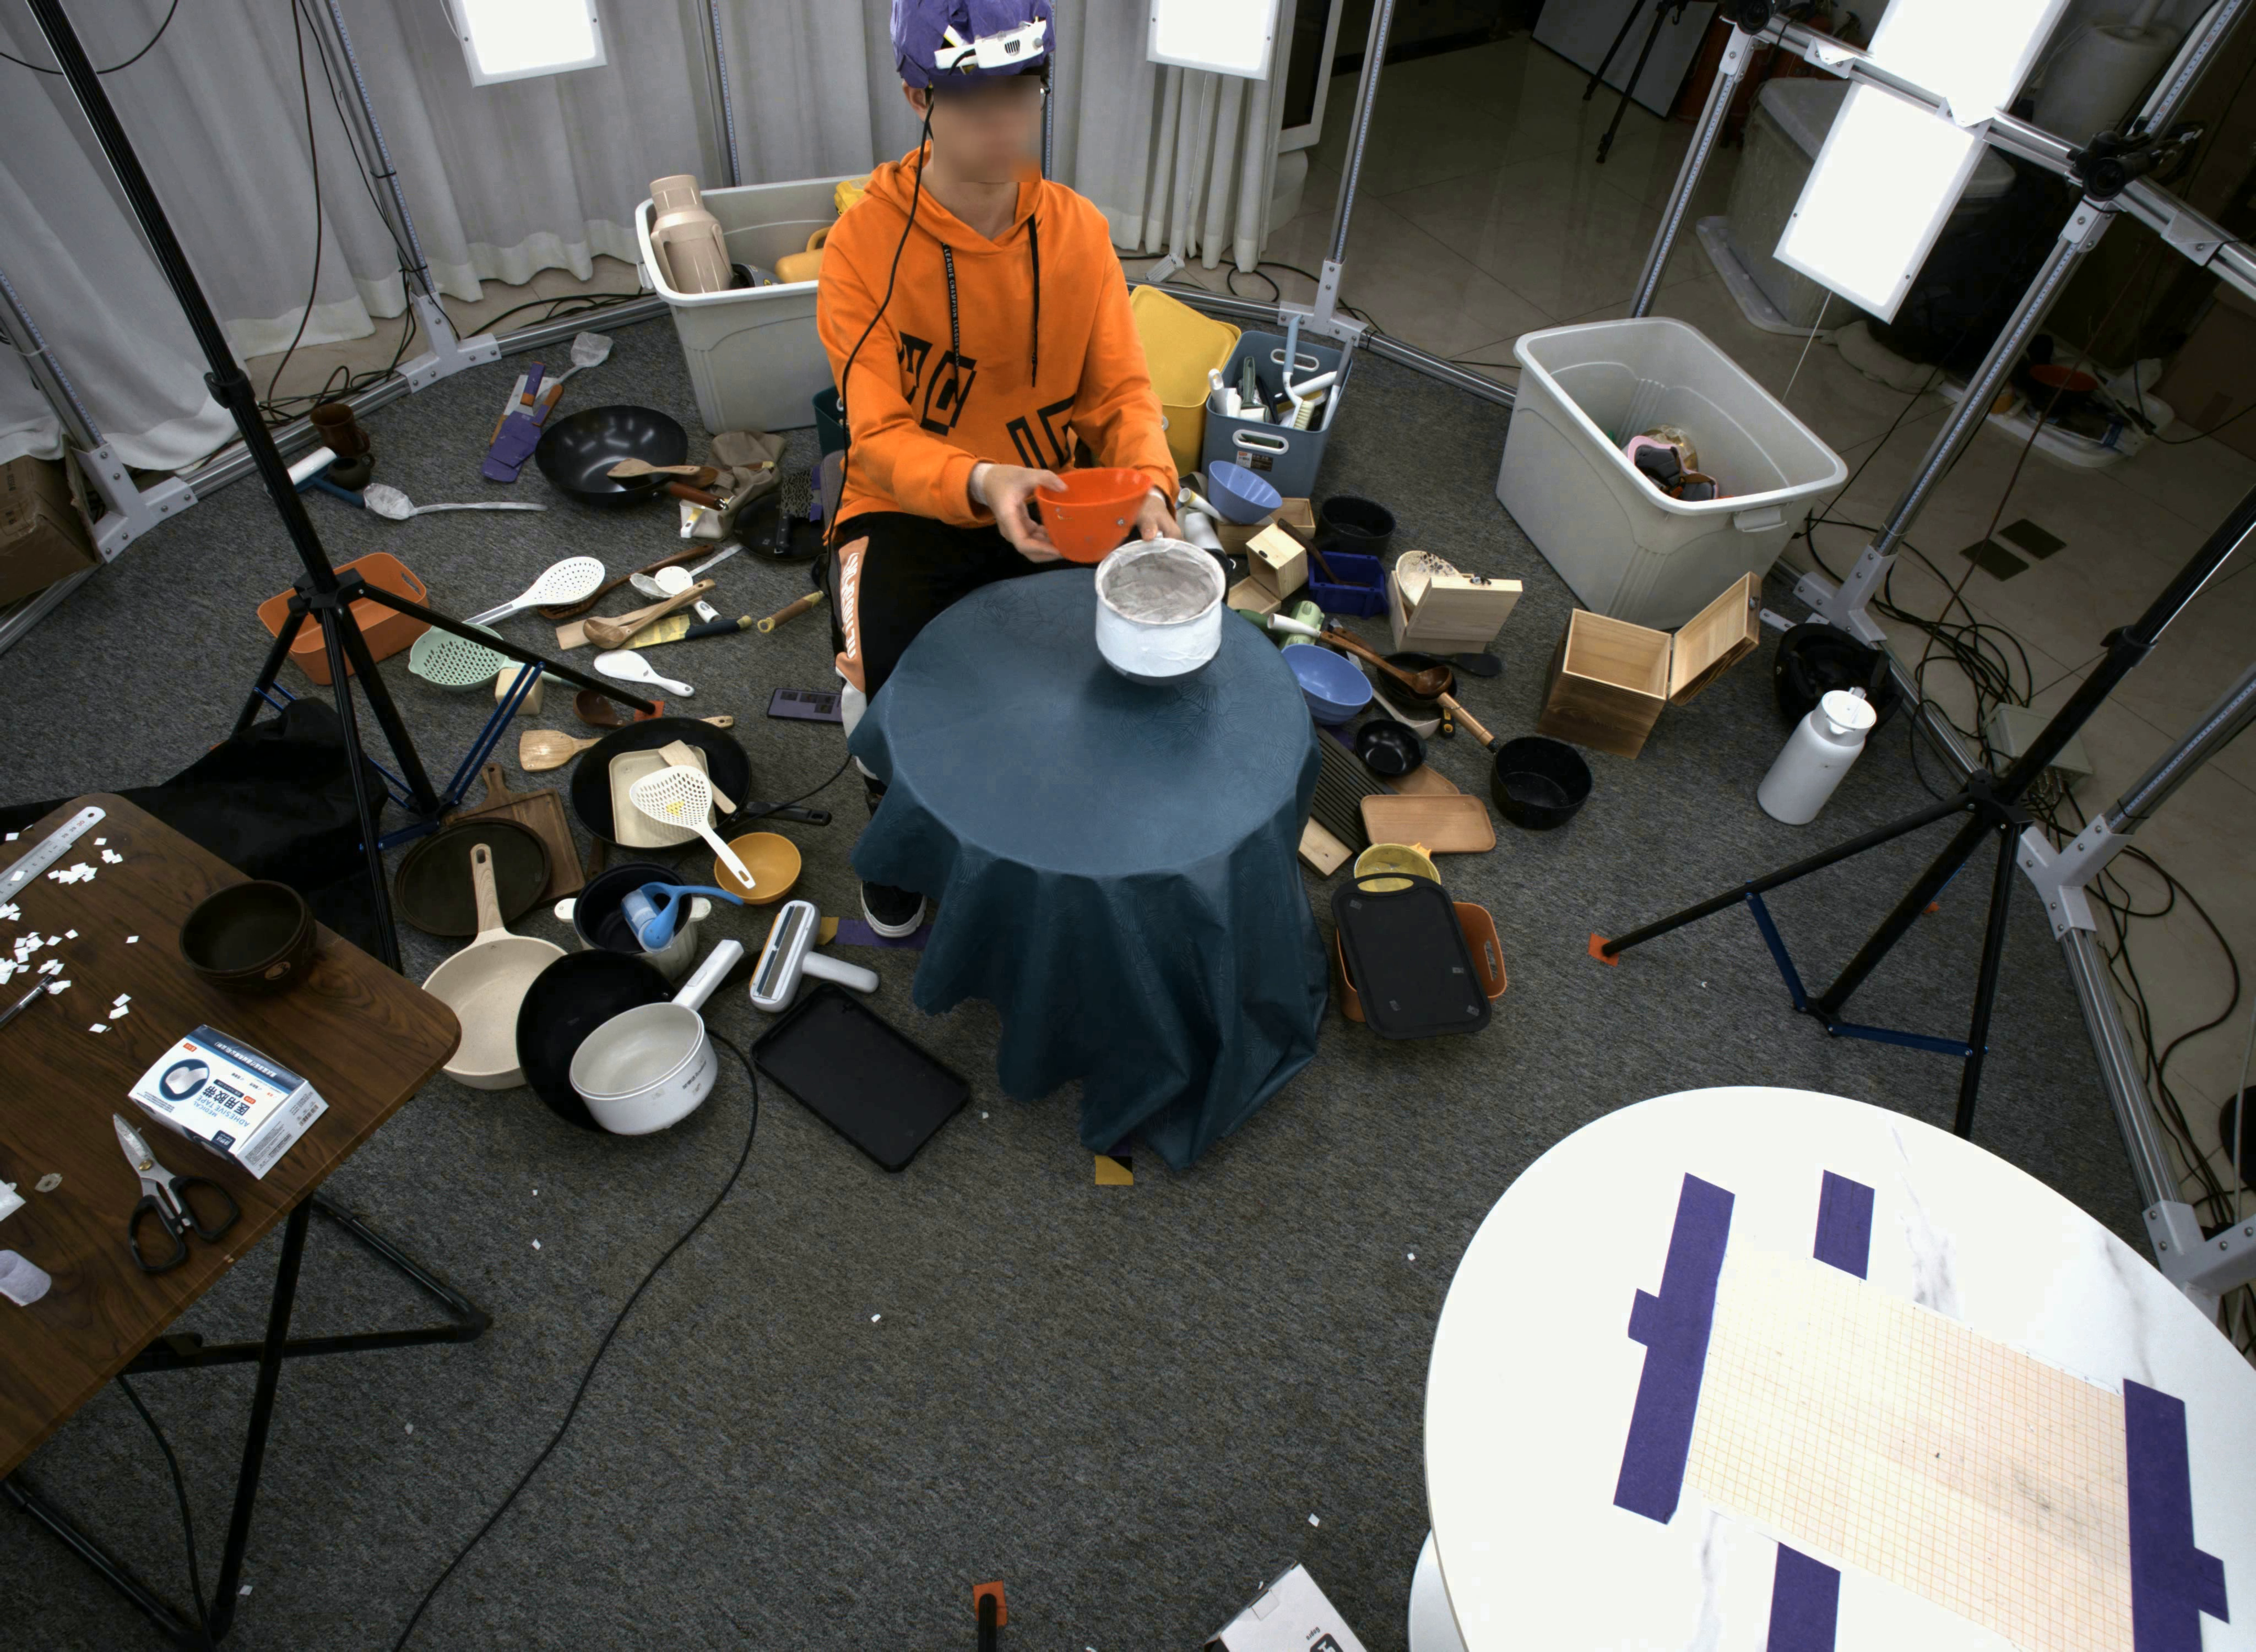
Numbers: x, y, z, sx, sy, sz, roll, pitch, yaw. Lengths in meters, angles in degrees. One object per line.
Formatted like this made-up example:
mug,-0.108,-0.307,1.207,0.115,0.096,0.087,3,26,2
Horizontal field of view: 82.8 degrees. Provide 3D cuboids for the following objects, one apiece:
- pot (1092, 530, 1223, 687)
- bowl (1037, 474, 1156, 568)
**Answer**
pot,0.038,-0.314,1.800,0.178,0.133,0.239,-3,50,-3
bowl,-0.041,-0.382,1.620,0.148,0.102,0.151,3,33,-2
